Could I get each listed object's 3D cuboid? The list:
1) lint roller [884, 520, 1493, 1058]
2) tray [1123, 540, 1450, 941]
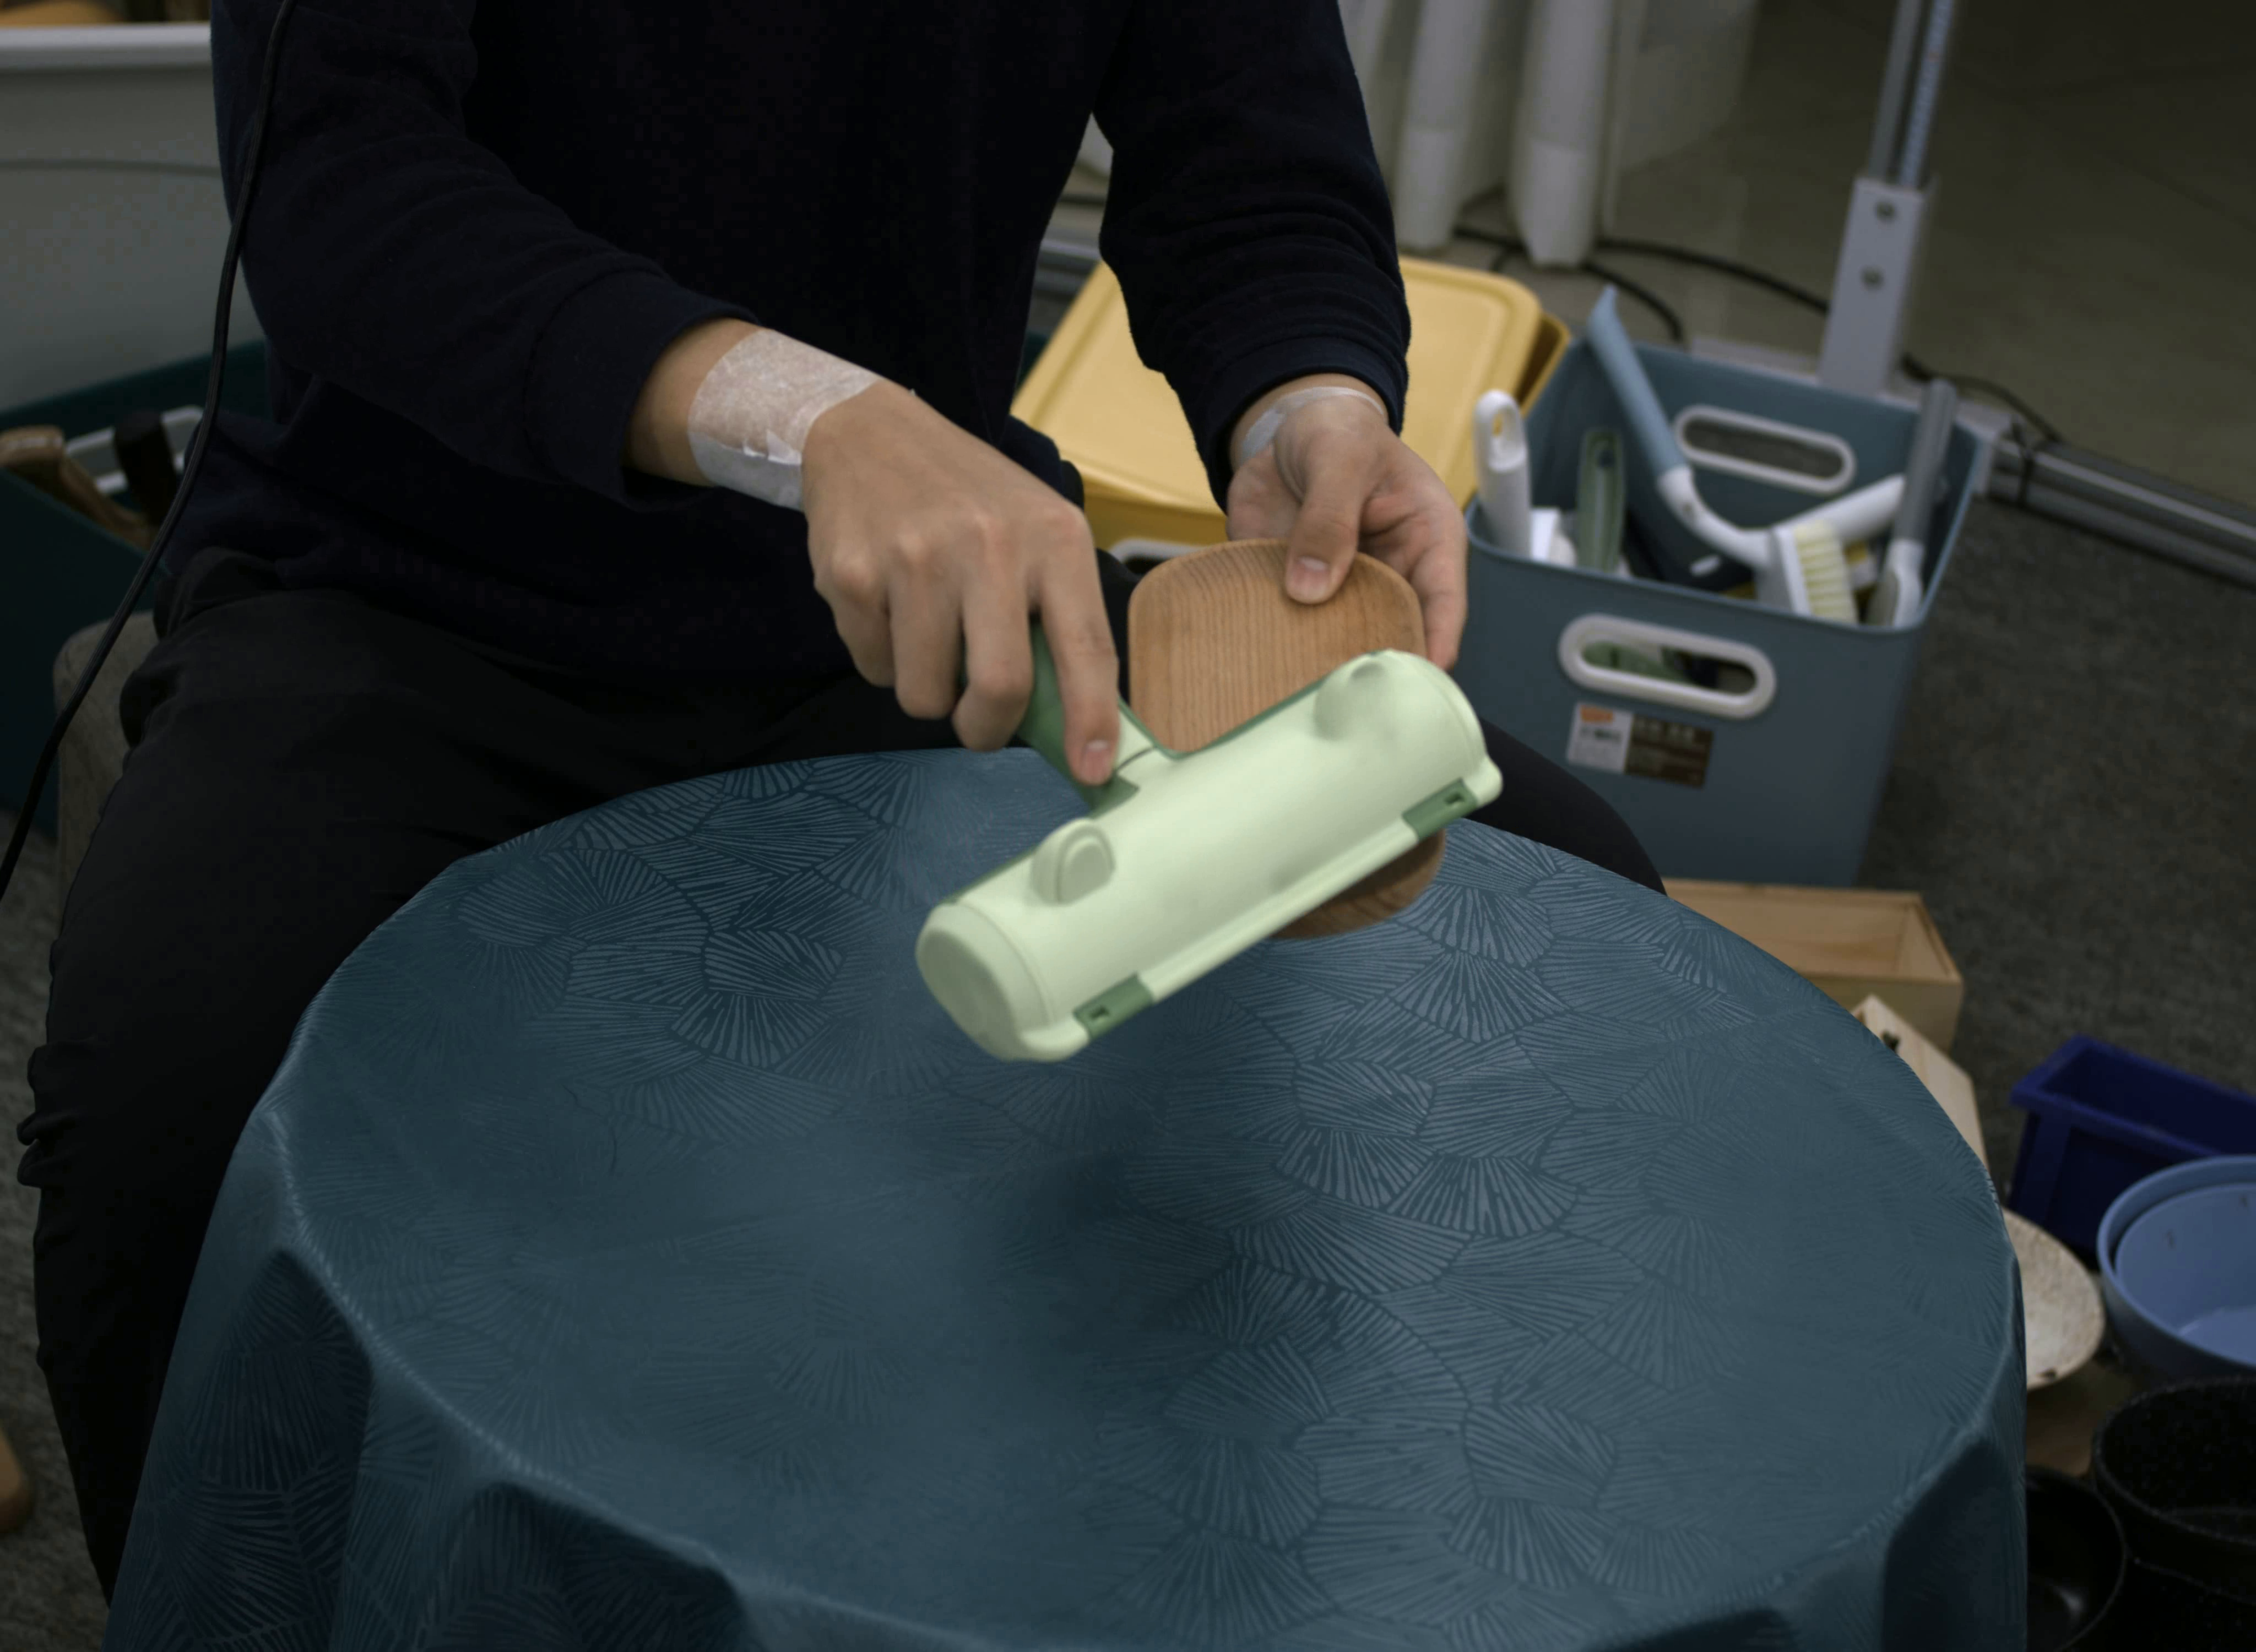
[{"bbox_3d":[-0.010,-0.040,1.642,0.198,0.082,0.184,-30,73,-30],"label":"lint roller"},{"bbox_3d":[0.050,-0.031,1.748,0.101,0.020,0.233,-3,34,0],"label":"tray"}]
